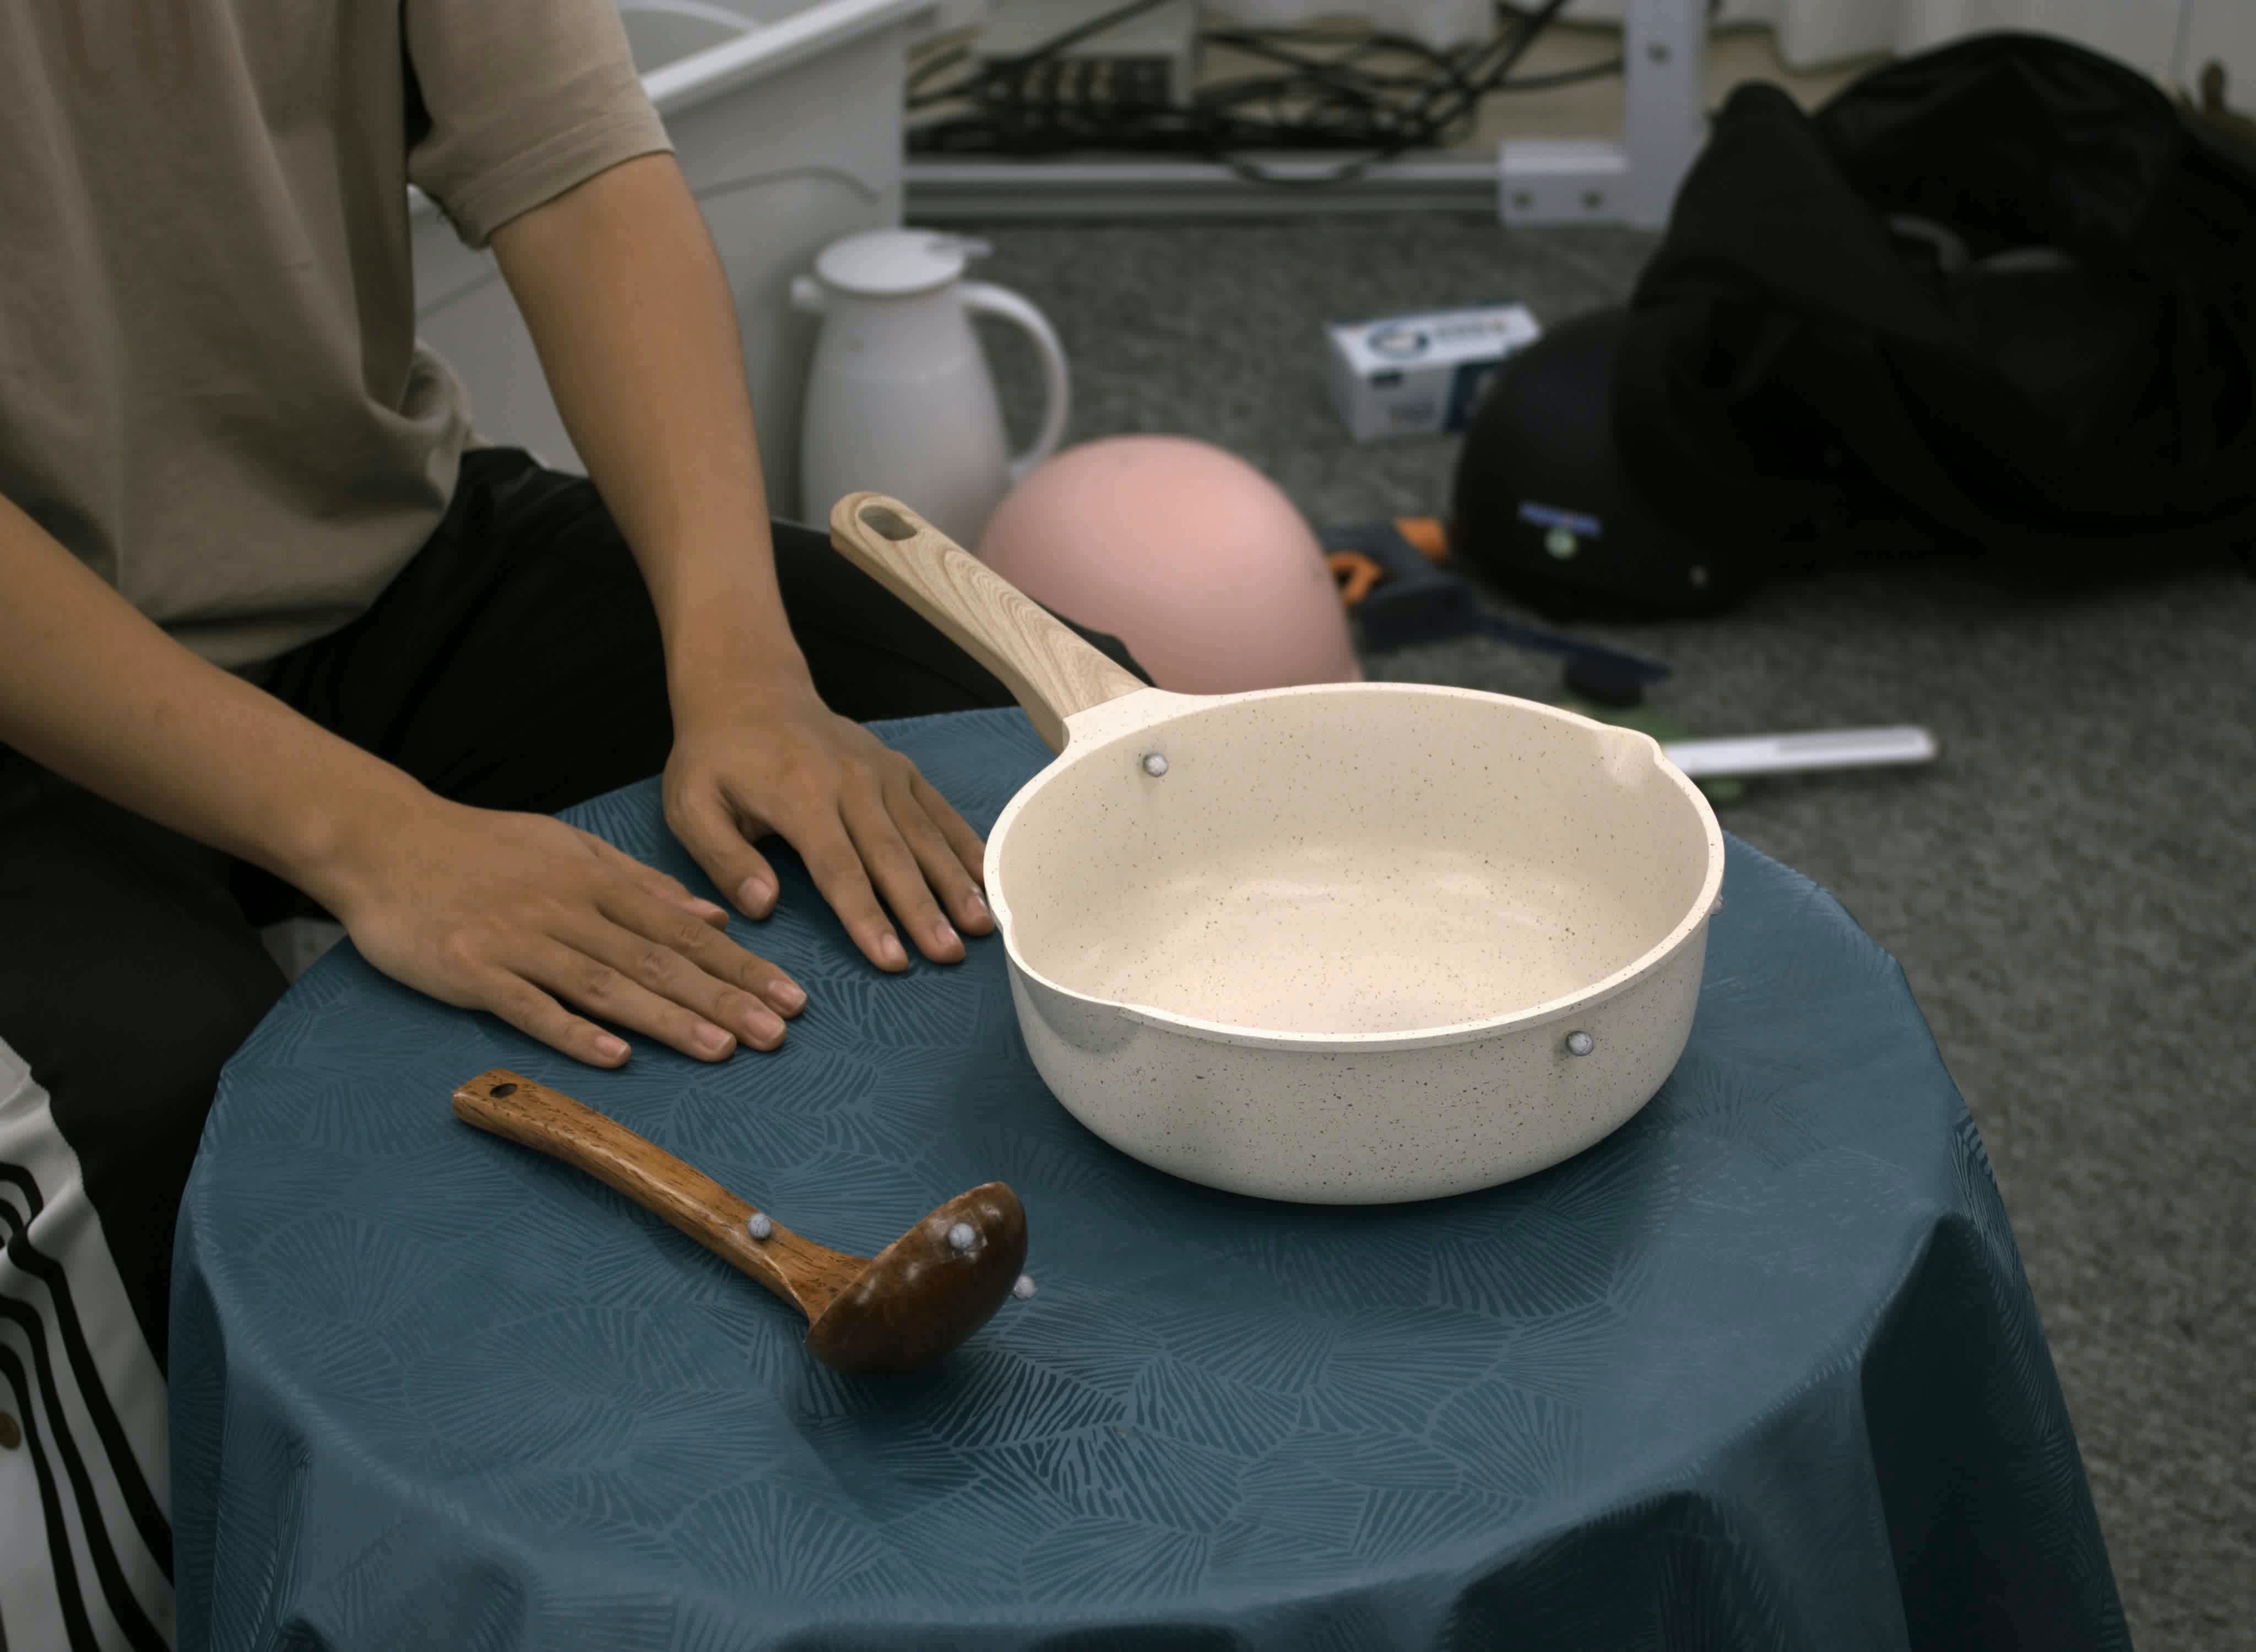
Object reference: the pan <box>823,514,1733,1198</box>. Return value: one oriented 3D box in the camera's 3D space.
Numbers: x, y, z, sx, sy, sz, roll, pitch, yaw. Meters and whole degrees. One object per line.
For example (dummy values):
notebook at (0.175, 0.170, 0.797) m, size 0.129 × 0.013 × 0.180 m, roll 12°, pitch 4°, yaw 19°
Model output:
pan at (0.027, 0.002, 1.984) m, size 0.266 × 0.101 × 0.435 m, roll -22°, pitch 33°, yaw -30°

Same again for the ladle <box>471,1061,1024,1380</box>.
ladle at (-0.136, 0.108, 1.817) m, size 0.083 × 0.076 × 0.274 m, roll -26°, pitch 36°, yaw -33°
